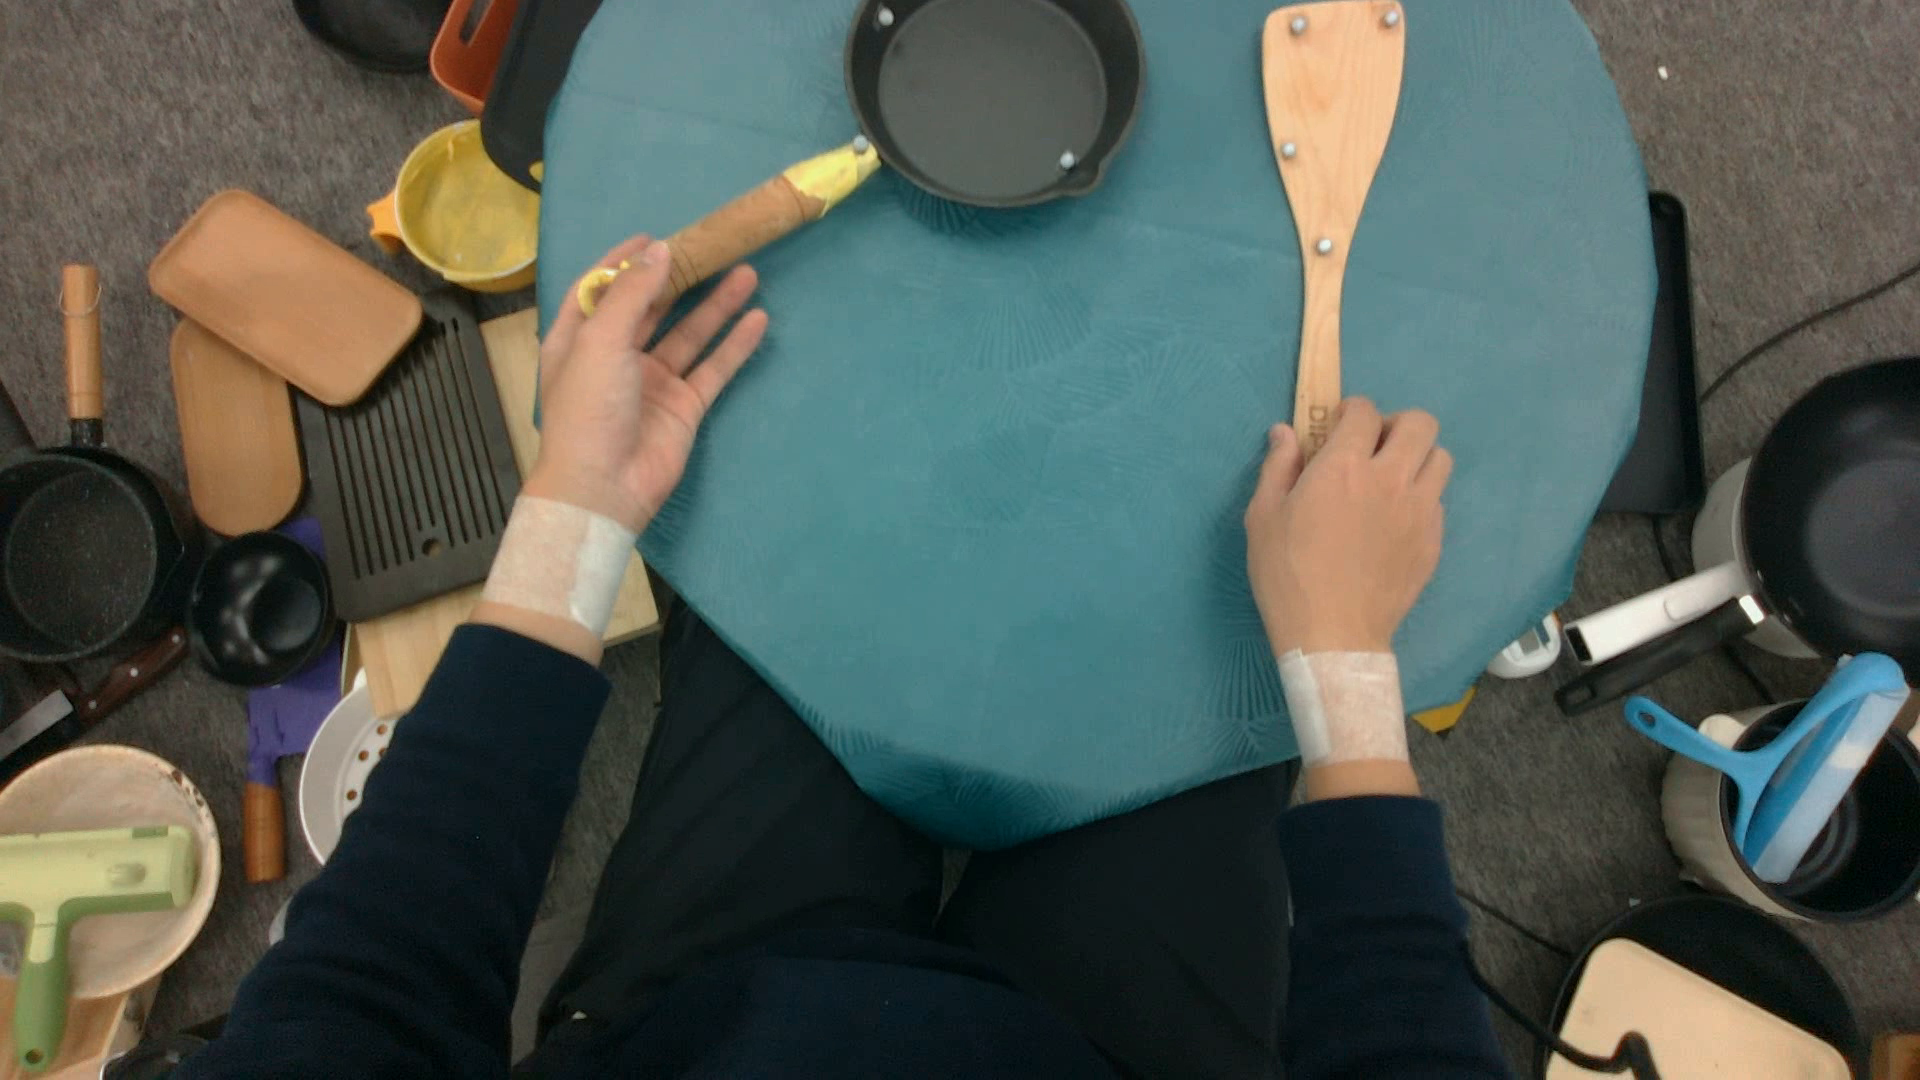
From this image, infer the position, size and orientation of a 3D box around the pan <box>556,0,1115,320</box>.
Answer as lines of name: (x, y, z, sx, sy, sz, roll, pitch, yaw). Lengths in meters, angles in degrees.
pan: (-0.065, -0.206, 0.710, 0.325, 0.049, 0.169, -35, 84, -10)

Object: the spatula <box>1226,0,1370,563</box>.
spatula: (0.179, -0.150, 0.730, 0.080, 0.016, 0.328, 3, 80, -1)
